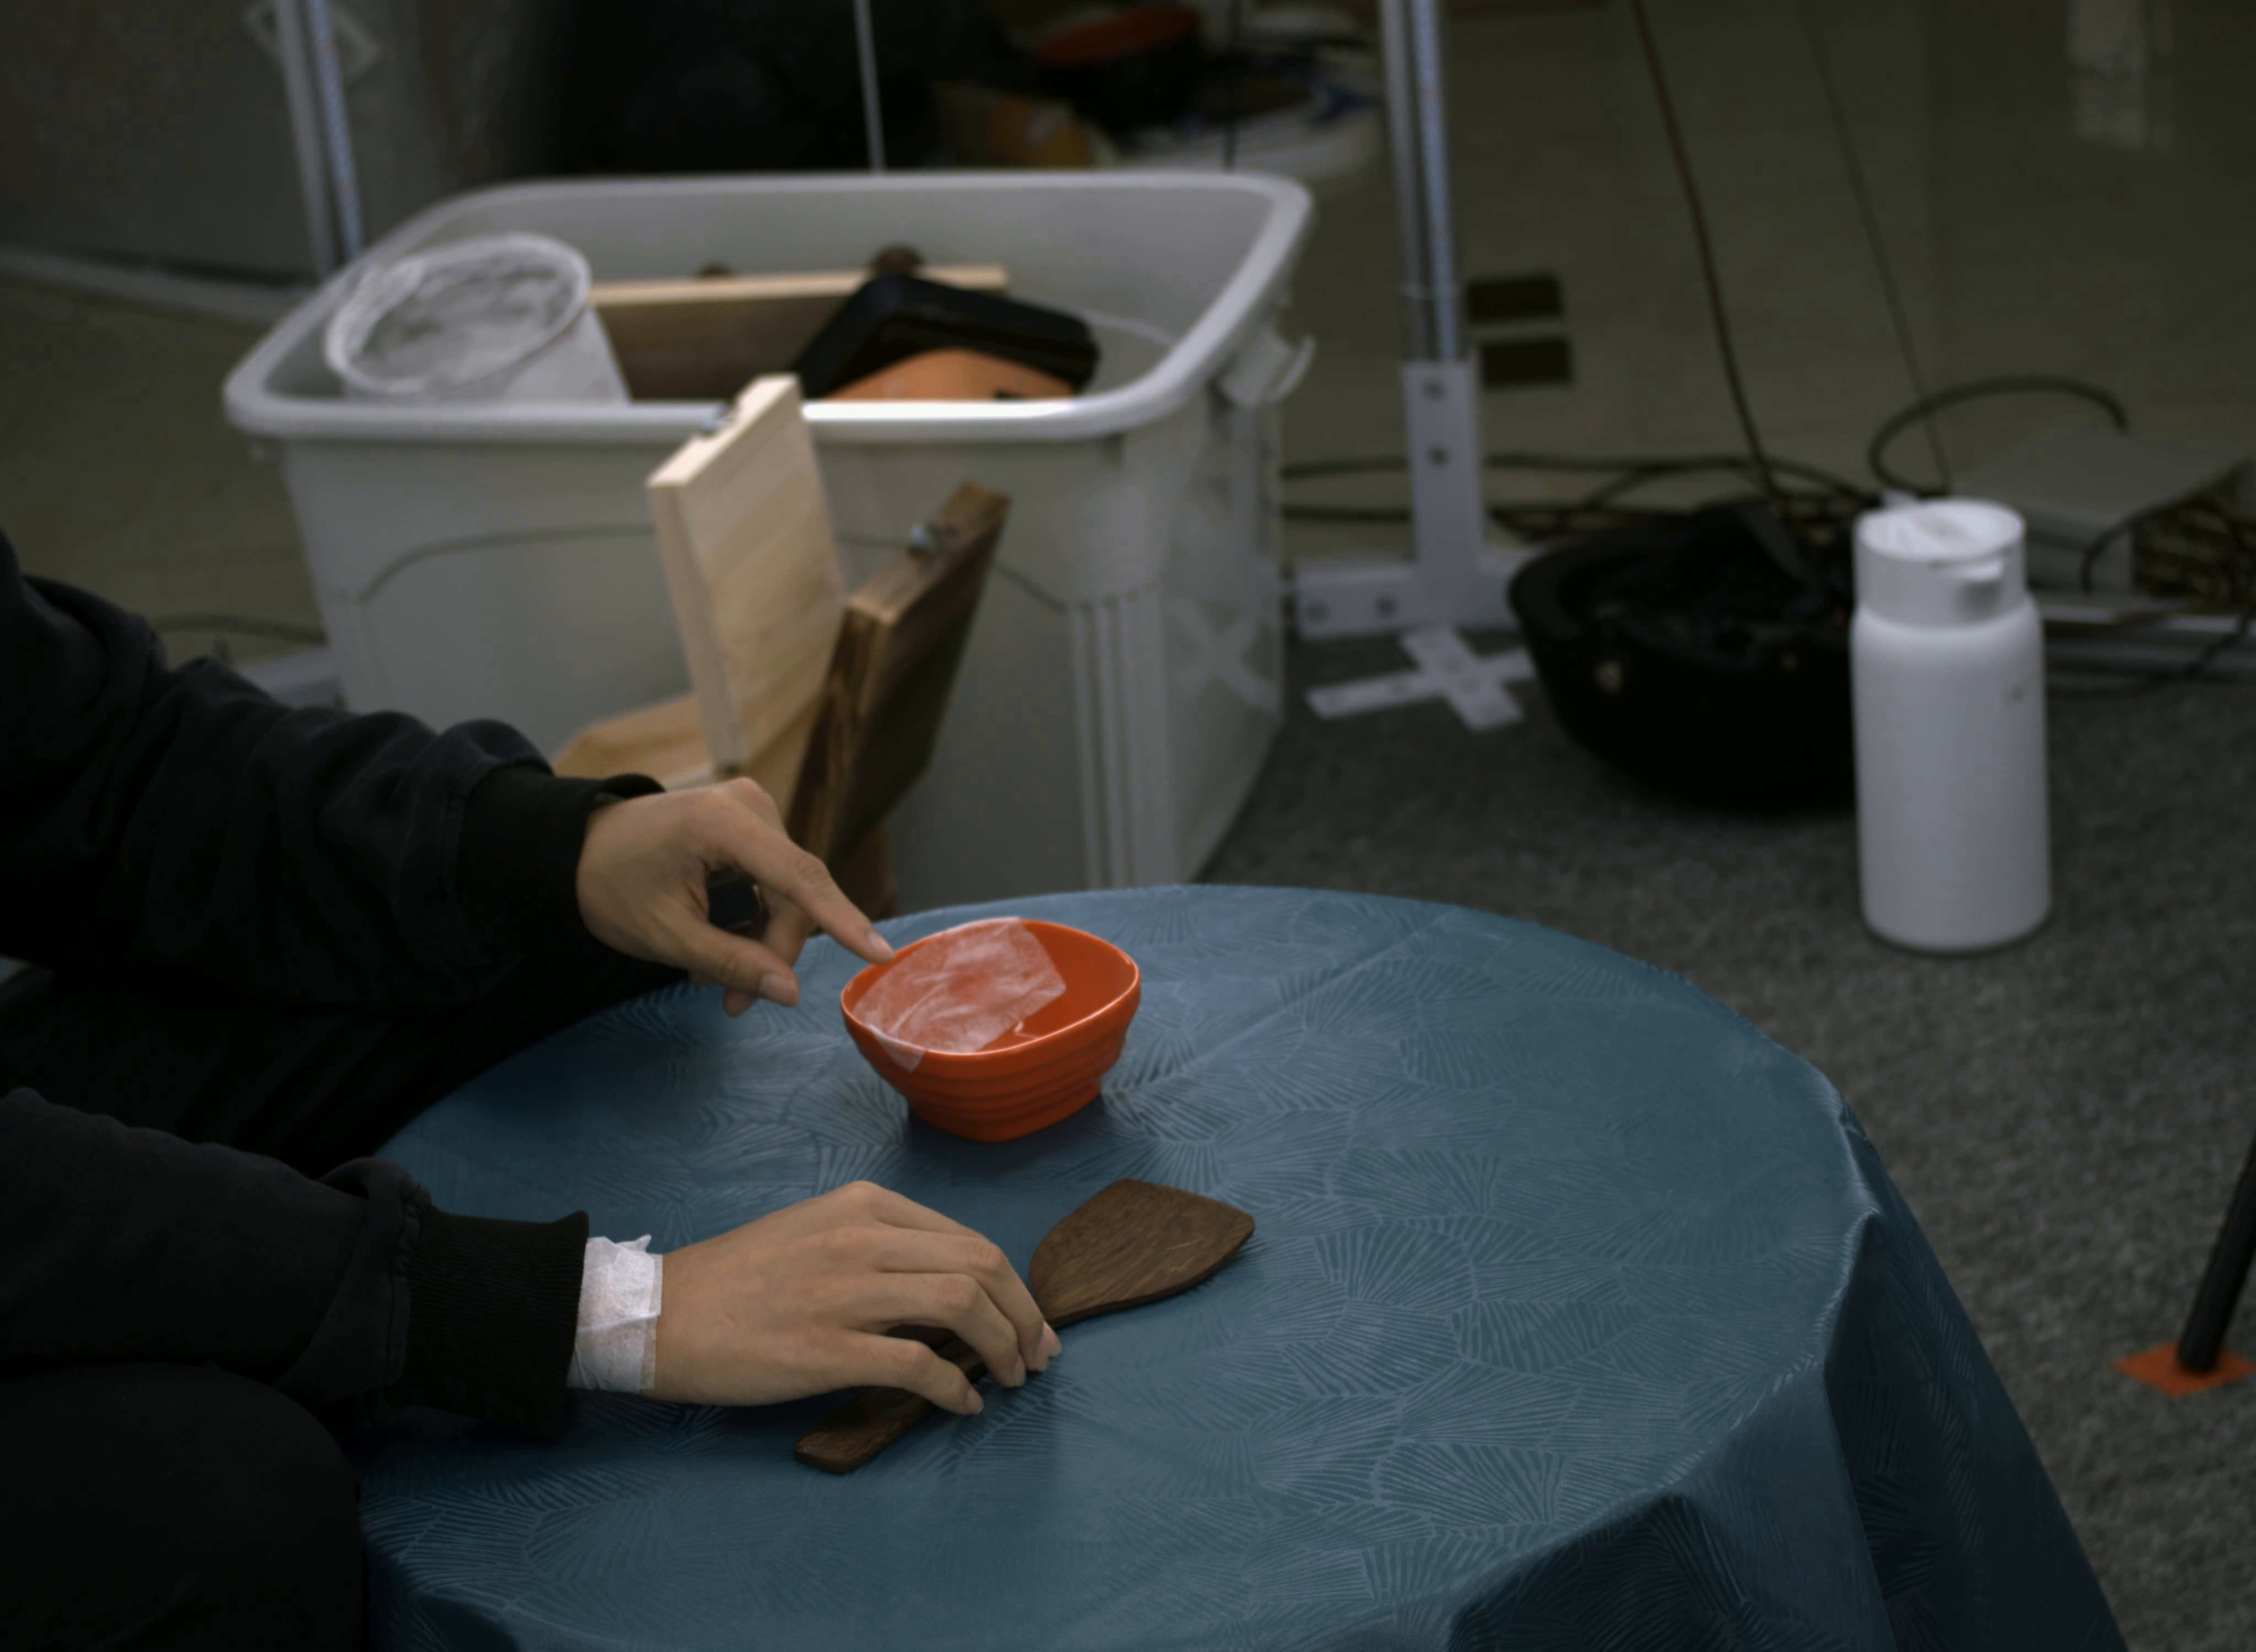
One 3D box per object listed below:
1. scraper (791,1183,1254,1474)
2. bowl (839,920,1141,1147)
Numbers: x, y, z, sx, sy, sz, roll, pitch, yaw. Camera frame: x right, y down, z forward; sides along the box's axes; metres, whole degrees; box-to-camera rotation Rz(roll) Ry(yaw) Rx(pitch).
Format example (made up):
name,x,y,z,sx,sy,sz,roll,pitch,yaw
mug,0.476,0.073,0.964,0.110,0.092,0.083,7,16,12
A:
name,x,y,z,sx,sy,sz,roll,pitch,yaw
scraper,-0.043,0.183,2.059,0.075,0.011,0.209,14,33,40
bowl,-0.052,0.086,2.222,0.119,0.052,0.117,-4,26,2
